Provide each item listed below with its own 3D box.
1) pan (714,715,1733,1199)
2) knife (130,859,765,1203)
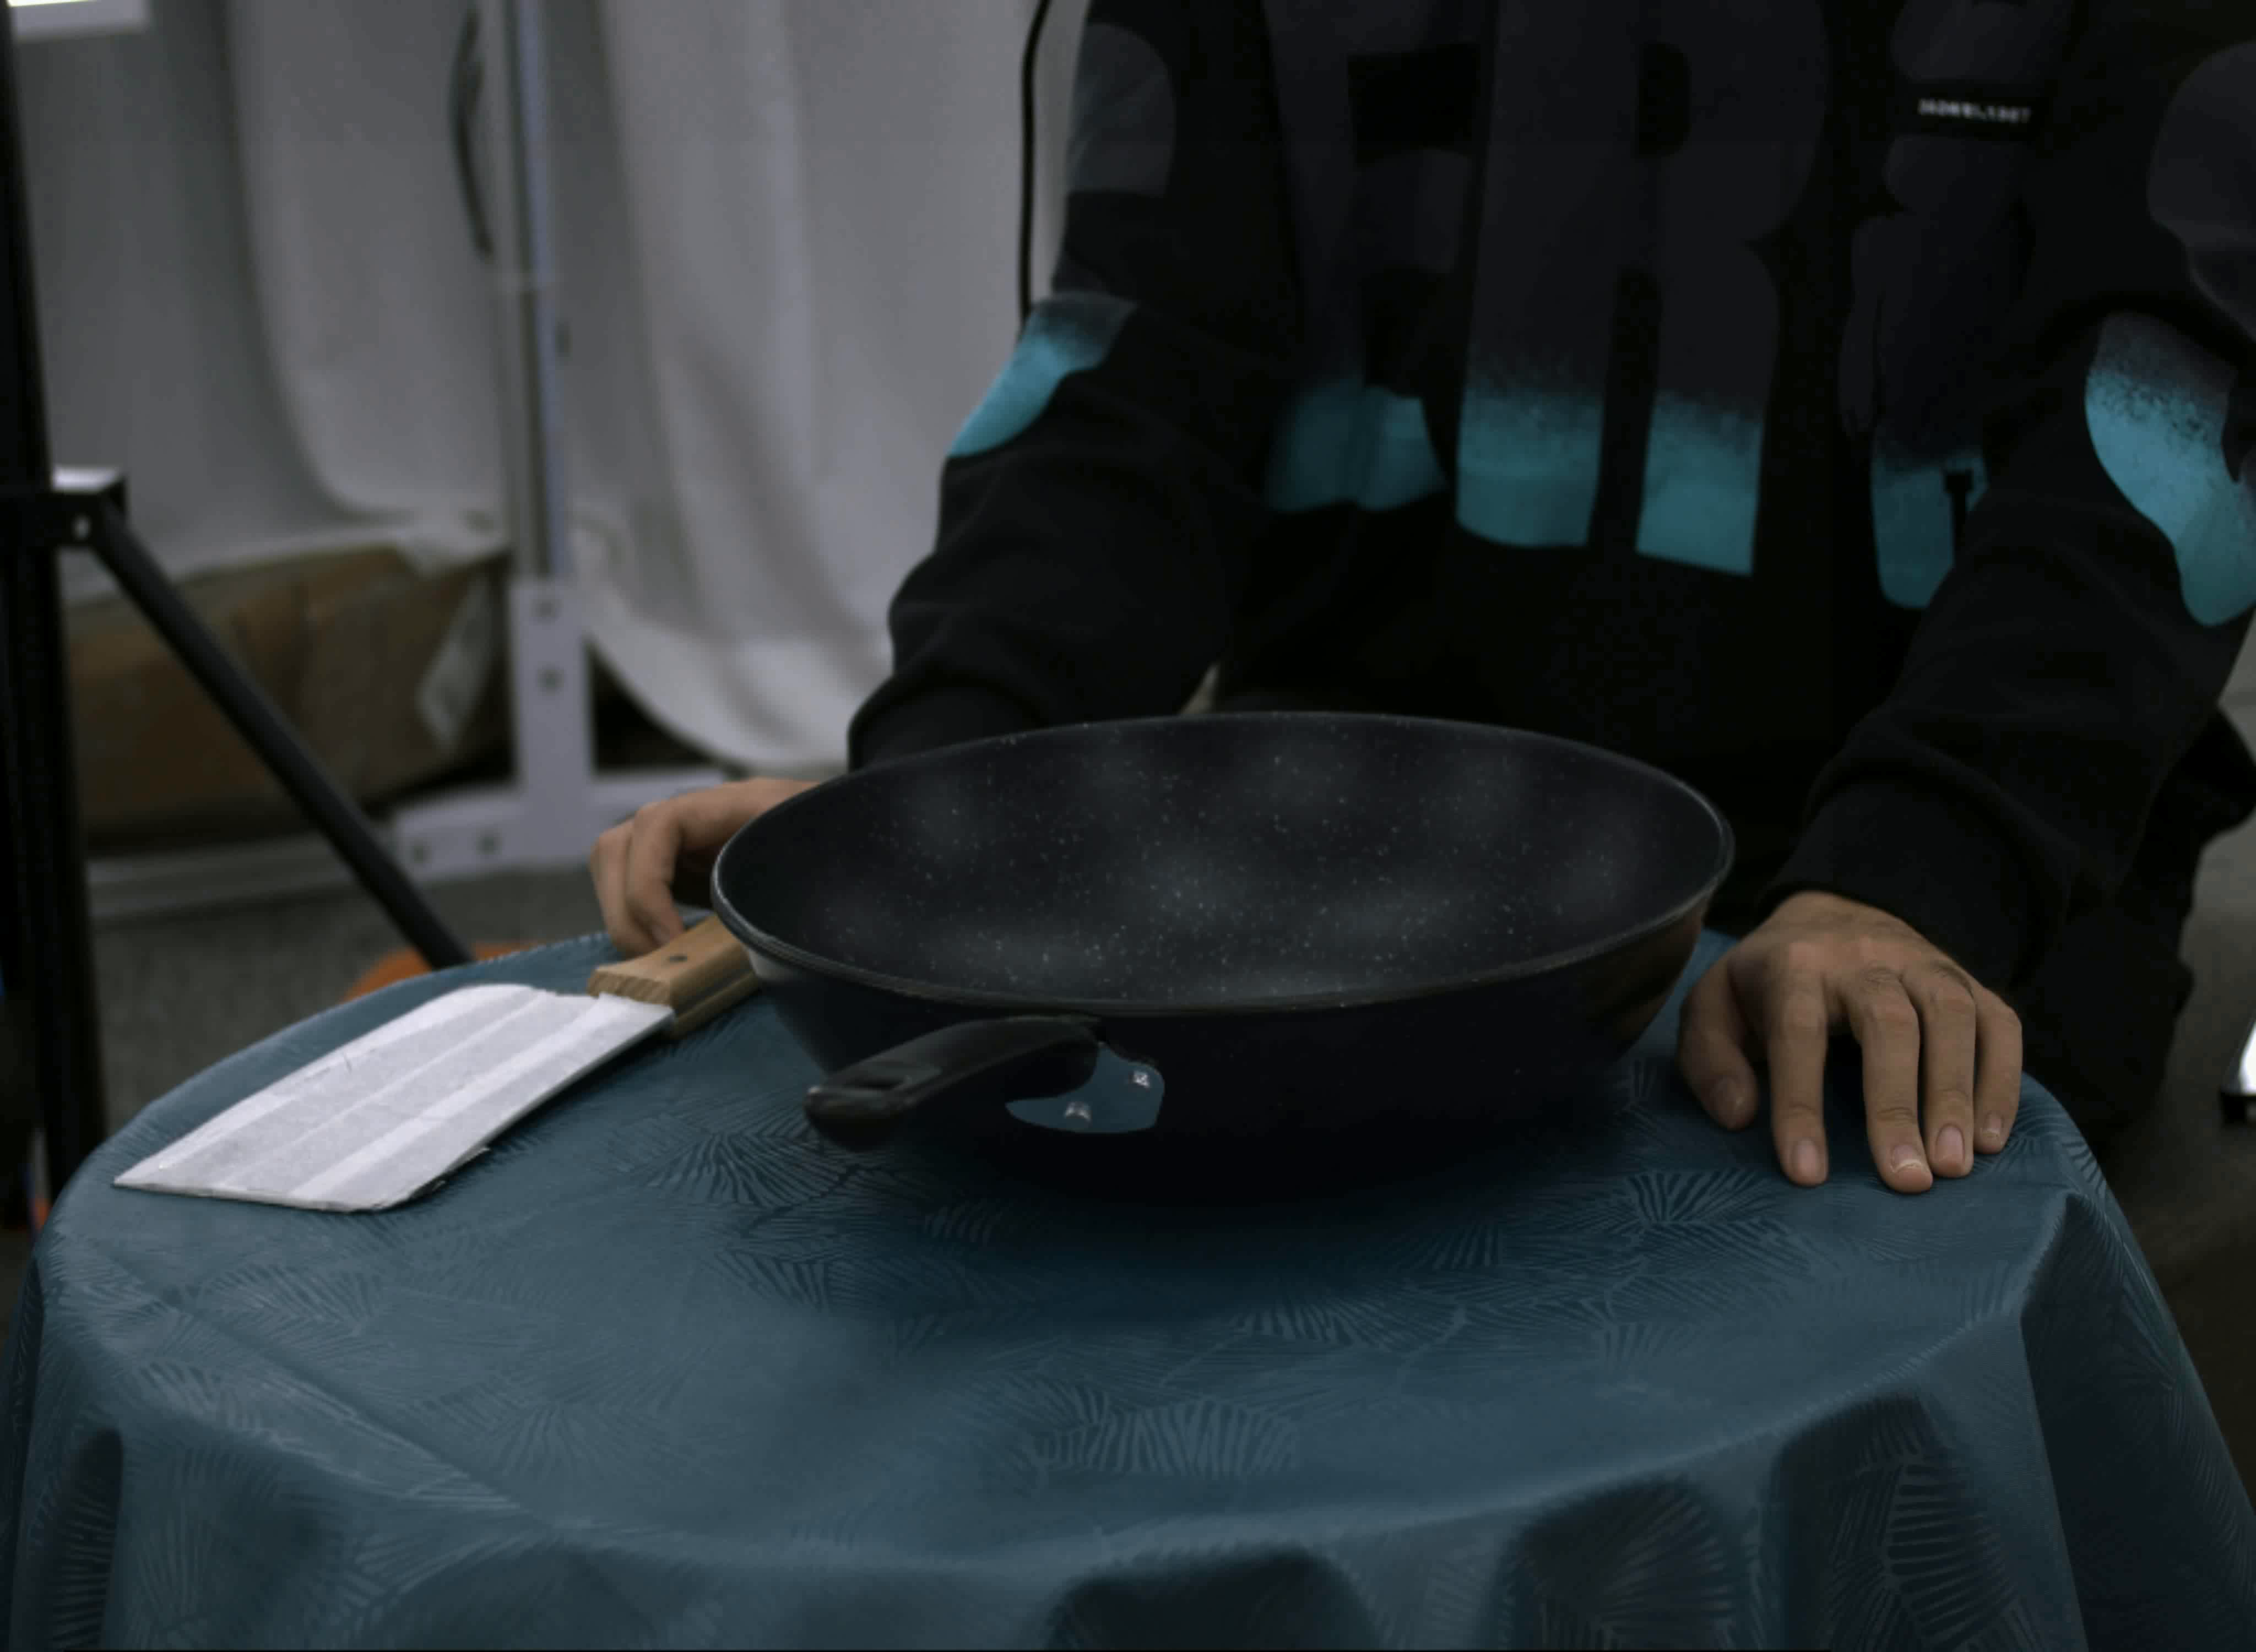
[{"bbox_3d":[0.005,0.058,1.541,0.313,0.111,0.472,1,16,19],"label":"pan"},{"bbox_3d":[-0.186,0.066,1.707,0.116,0.022,0.310,7,21,32],"label":"knife"}]
